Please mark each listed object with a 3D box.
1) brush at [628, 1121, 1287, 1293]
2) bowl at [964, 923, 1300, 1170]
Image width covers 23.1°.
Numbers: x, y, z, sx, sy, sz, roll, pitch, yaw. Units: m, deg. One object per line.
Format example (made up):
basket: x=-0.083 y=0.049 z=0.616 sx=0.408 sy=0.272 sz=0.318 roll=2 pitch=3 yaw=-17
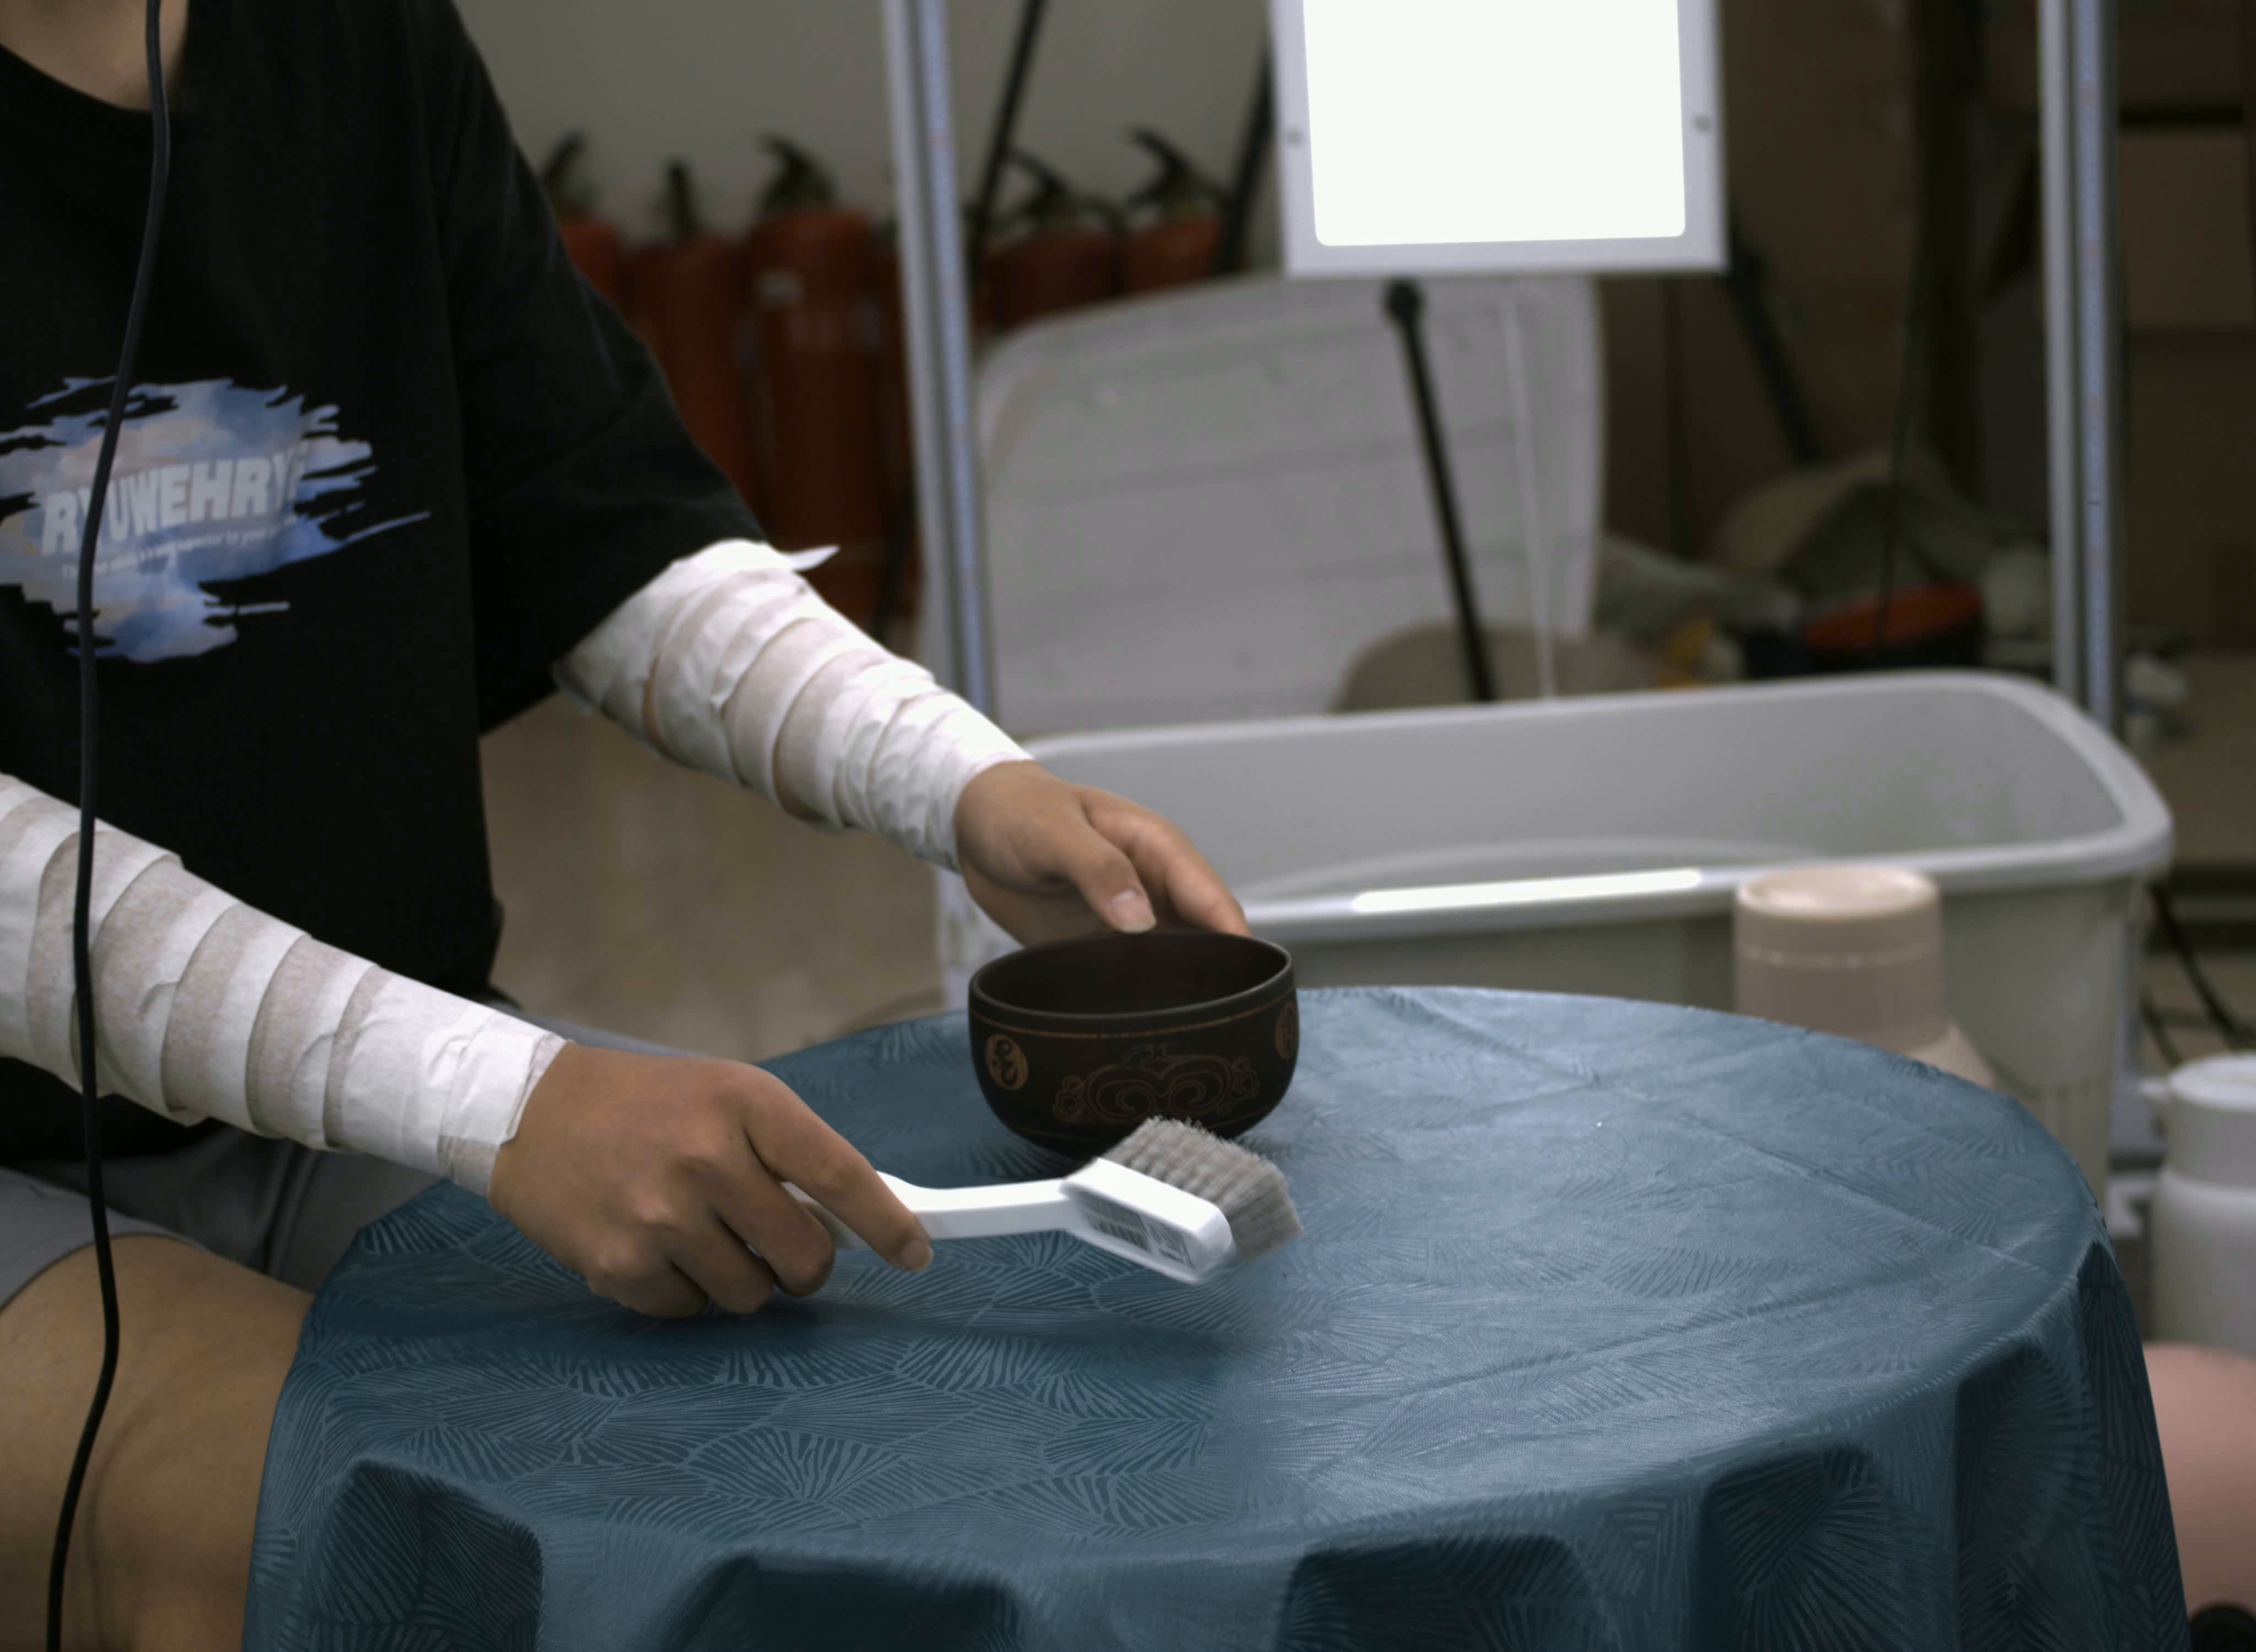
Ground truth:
brush: x=-0.057 y=0.117 z=1.790 sx=0.249 sy=0.034 sz=0.049 roll=2 pitch=37 yaw=36
bowl: x=0.004 y=0.082 z=1.927 sx=0.118 sy=0.070 sz=0.118 roll=-7 pitch=13 yaw=0
